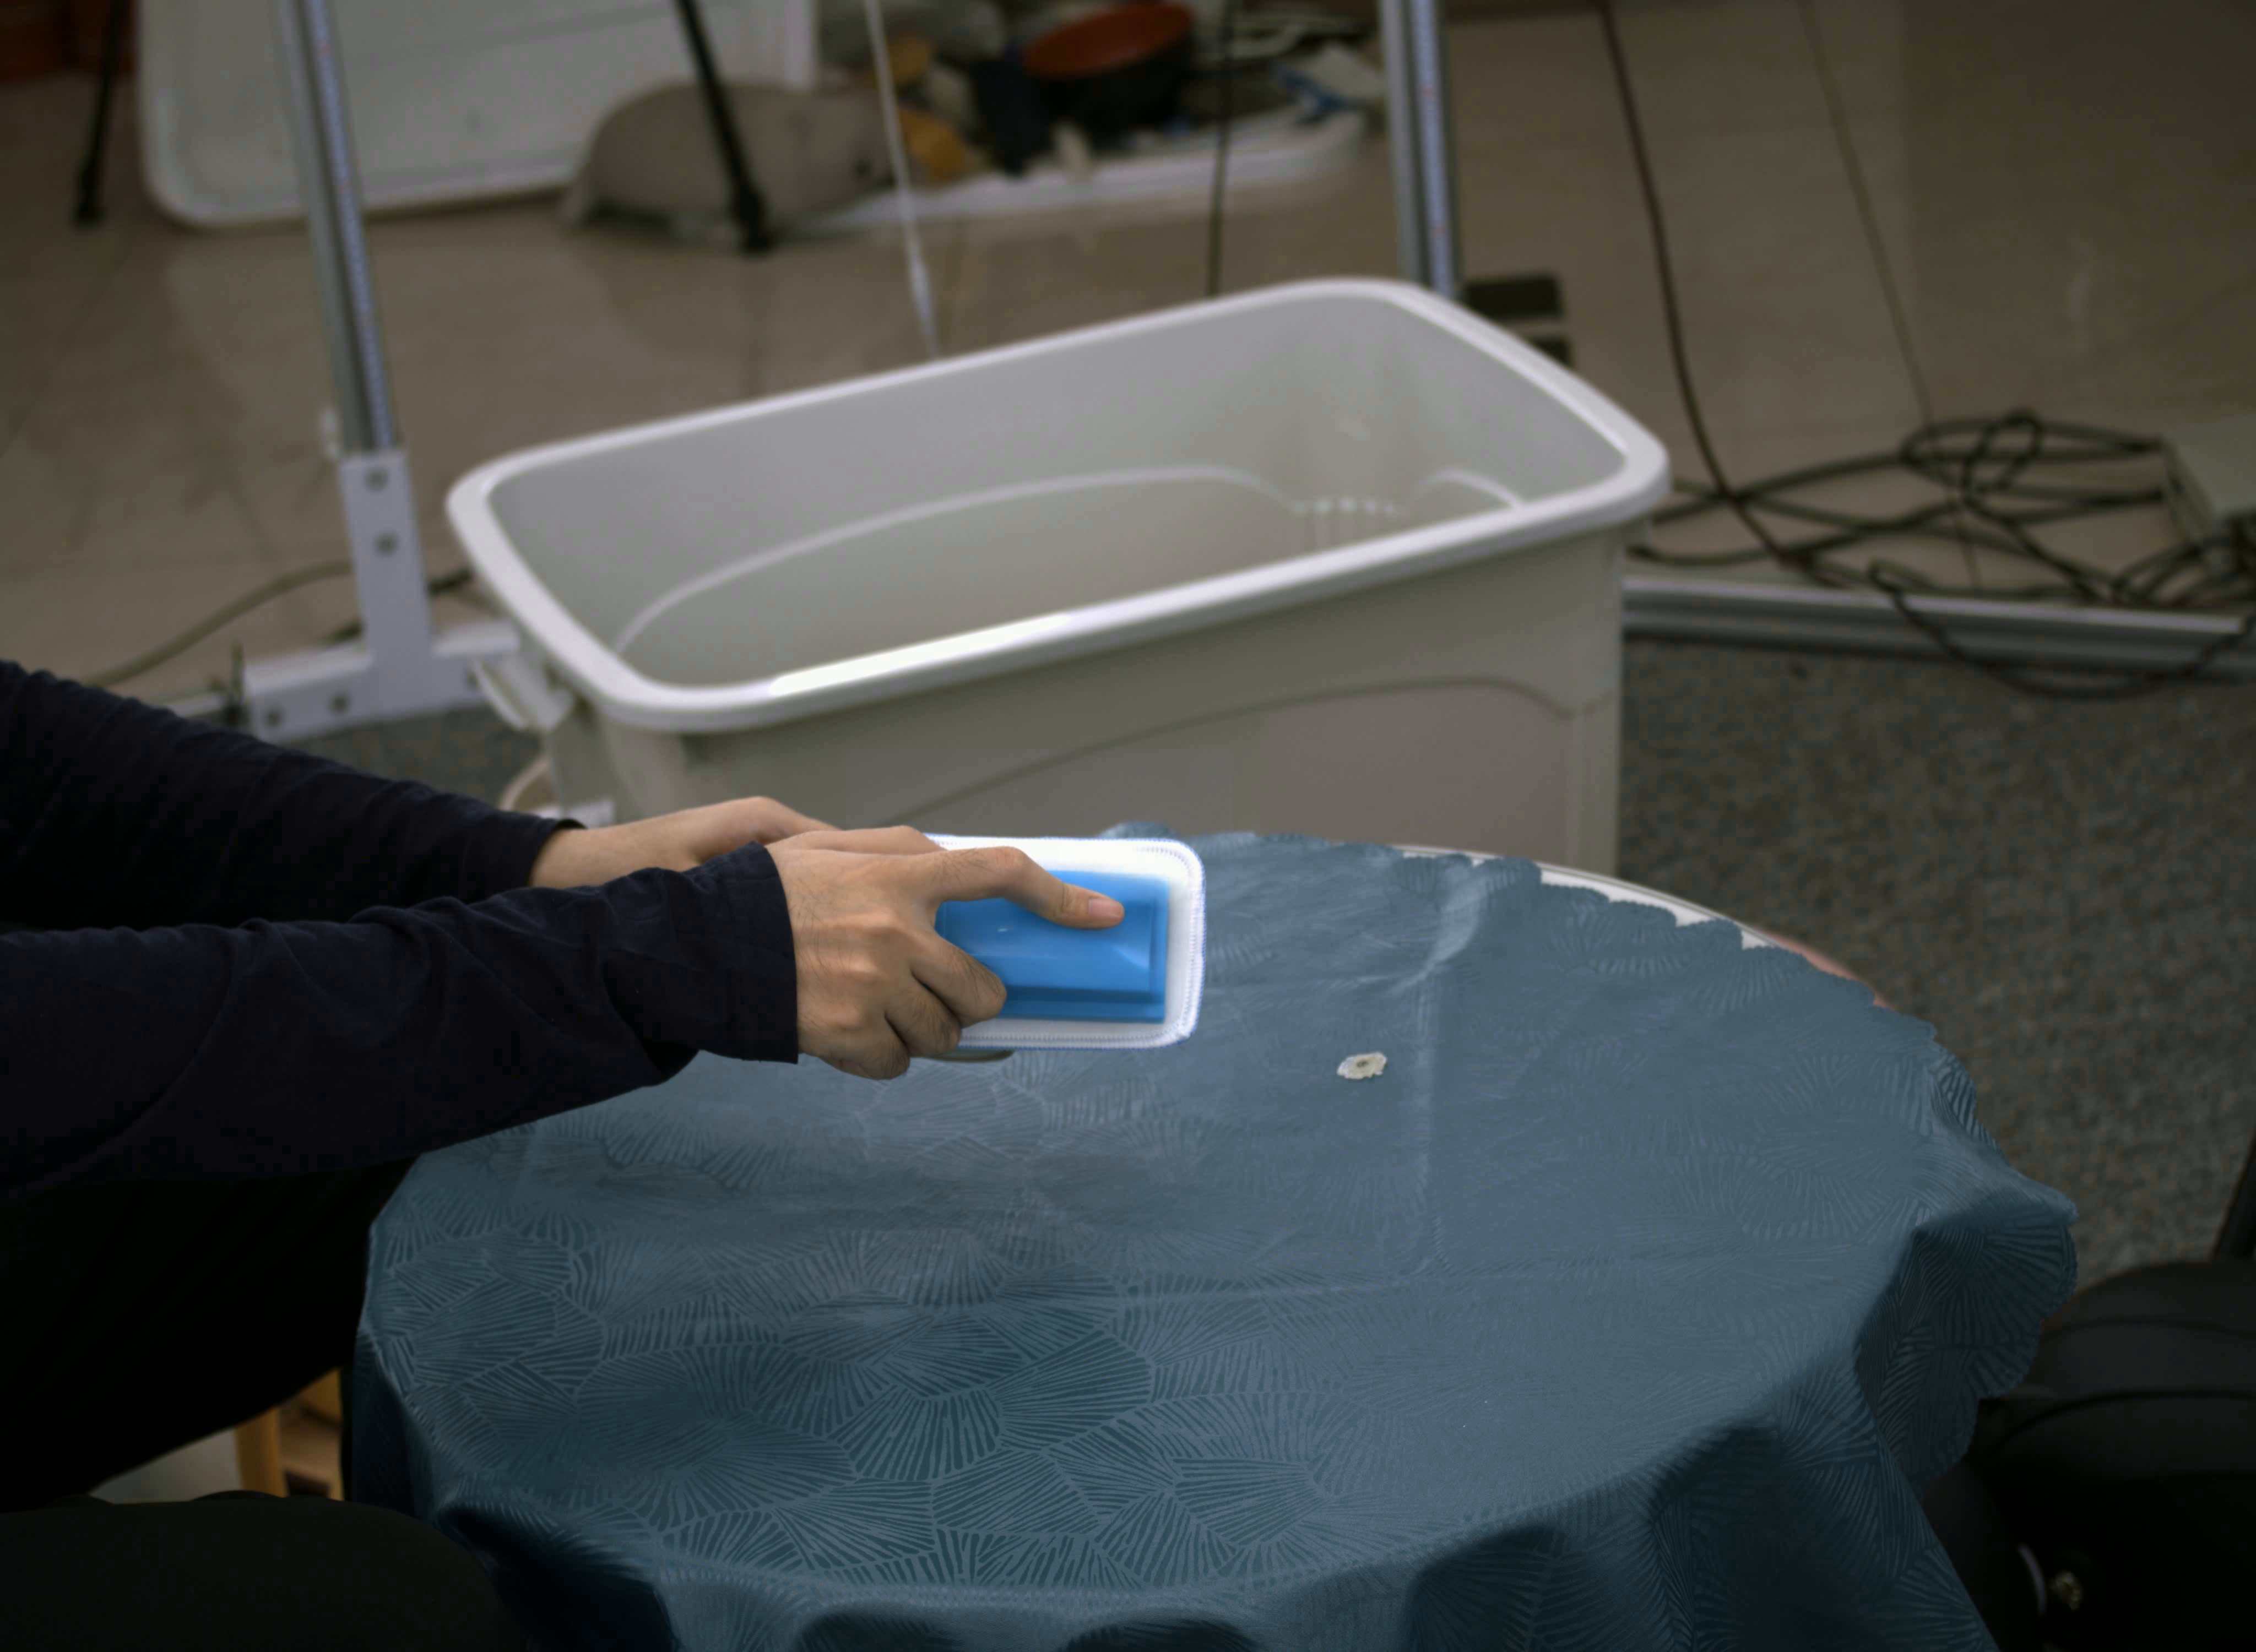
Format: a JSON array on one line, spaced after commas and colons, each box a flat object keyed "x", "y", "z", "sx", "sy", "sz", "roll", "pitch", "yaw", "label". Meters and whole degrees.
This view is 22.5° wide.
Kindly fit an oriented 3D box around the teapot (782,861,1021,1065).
[{"x": -0.064, "y": 0.050, "z": 2.143, "sx": 0.143, "sy": 0.074, "sz": 0.089, "roll": 2, "pitch": -13, "yaw": 20, "label": "teapot"}]

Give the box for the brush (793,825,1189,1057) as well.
[{"x": -0.049, "y": 0.039, "z": 2.072, "sx": 0.144, "sy": 0.083, "sz": 0.056, "roll": 5, "pitch": -15, "yaw": -1, "label": "brush"}]
